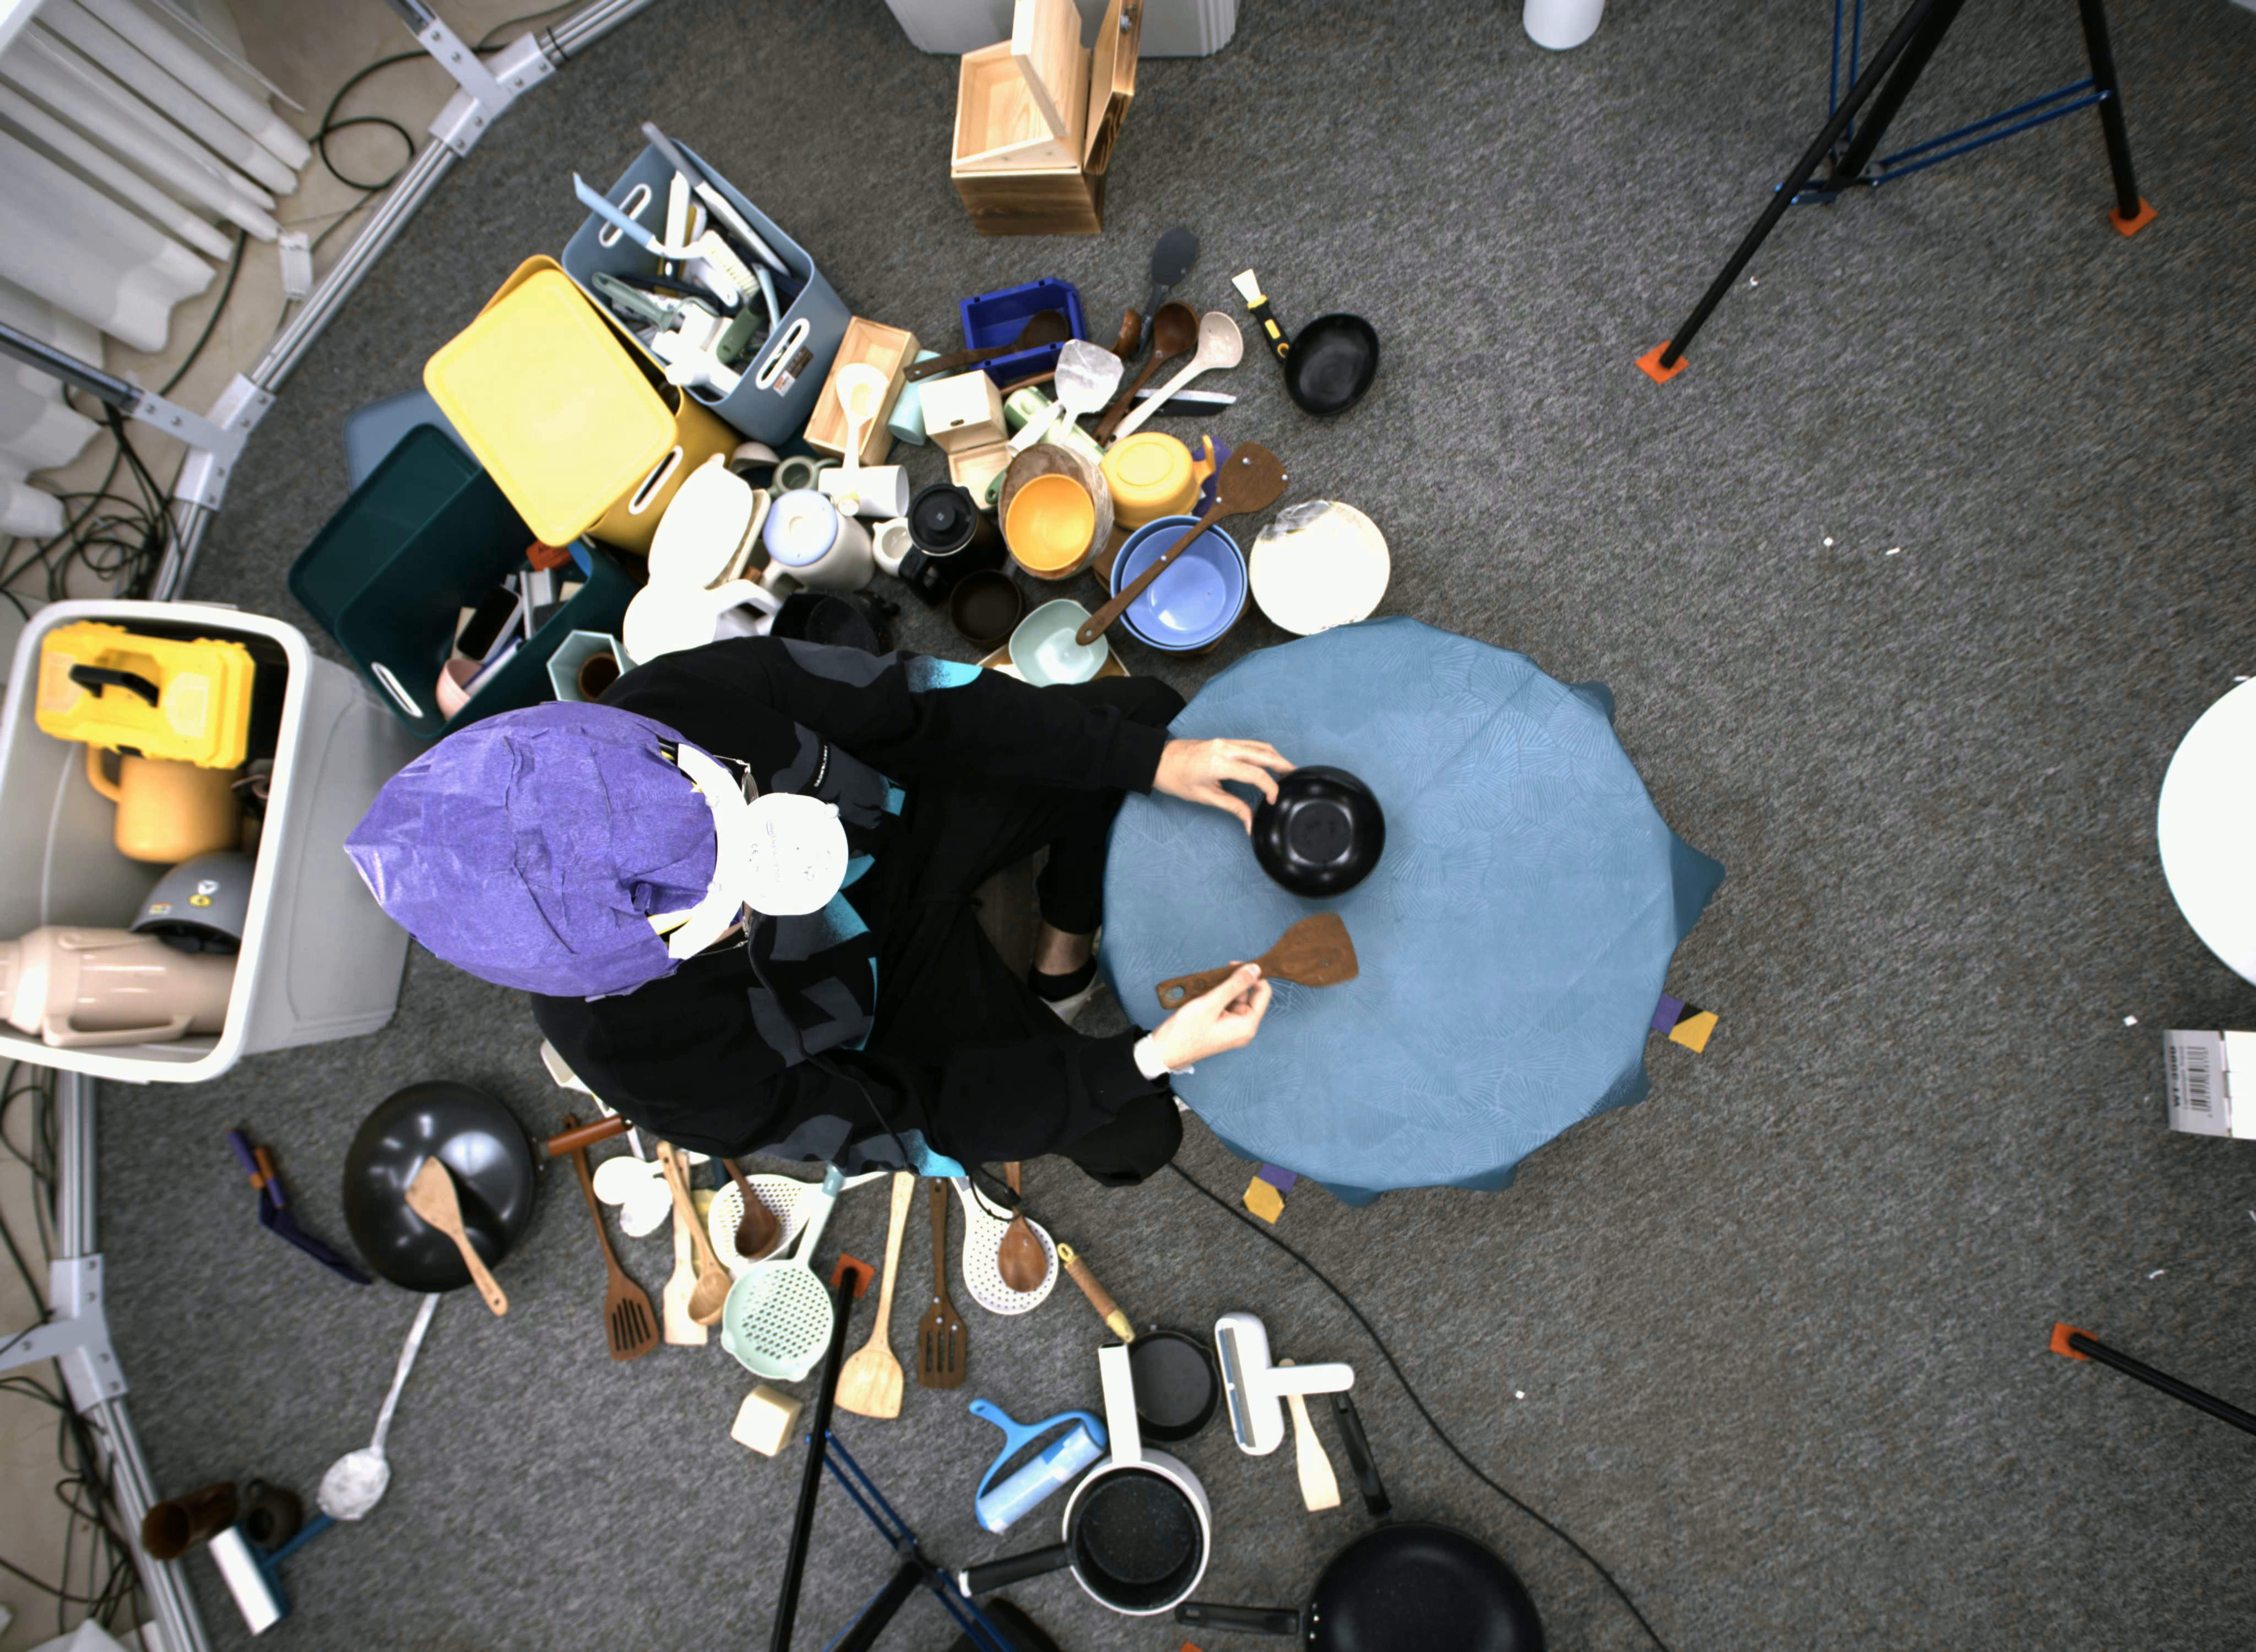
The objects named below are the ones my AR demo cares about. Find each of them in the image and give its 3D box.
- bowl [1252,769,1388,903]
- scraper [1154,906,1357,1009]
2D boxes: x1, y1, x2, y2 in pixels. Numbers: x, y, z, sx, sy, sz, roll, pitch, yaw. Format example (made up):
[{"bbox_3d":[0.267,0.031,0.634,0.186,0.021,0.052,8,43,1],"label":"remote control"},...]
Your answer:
[{"bbox_3d":[0.200,0.009,1.442,0.140,0.049,0.140,1,94,10],"label":"bowl"},{"bbox_3d":[0.123,0.137,1.351,0.210,0.011,0.075,-15,80,-18],"label":"scraper"}]
